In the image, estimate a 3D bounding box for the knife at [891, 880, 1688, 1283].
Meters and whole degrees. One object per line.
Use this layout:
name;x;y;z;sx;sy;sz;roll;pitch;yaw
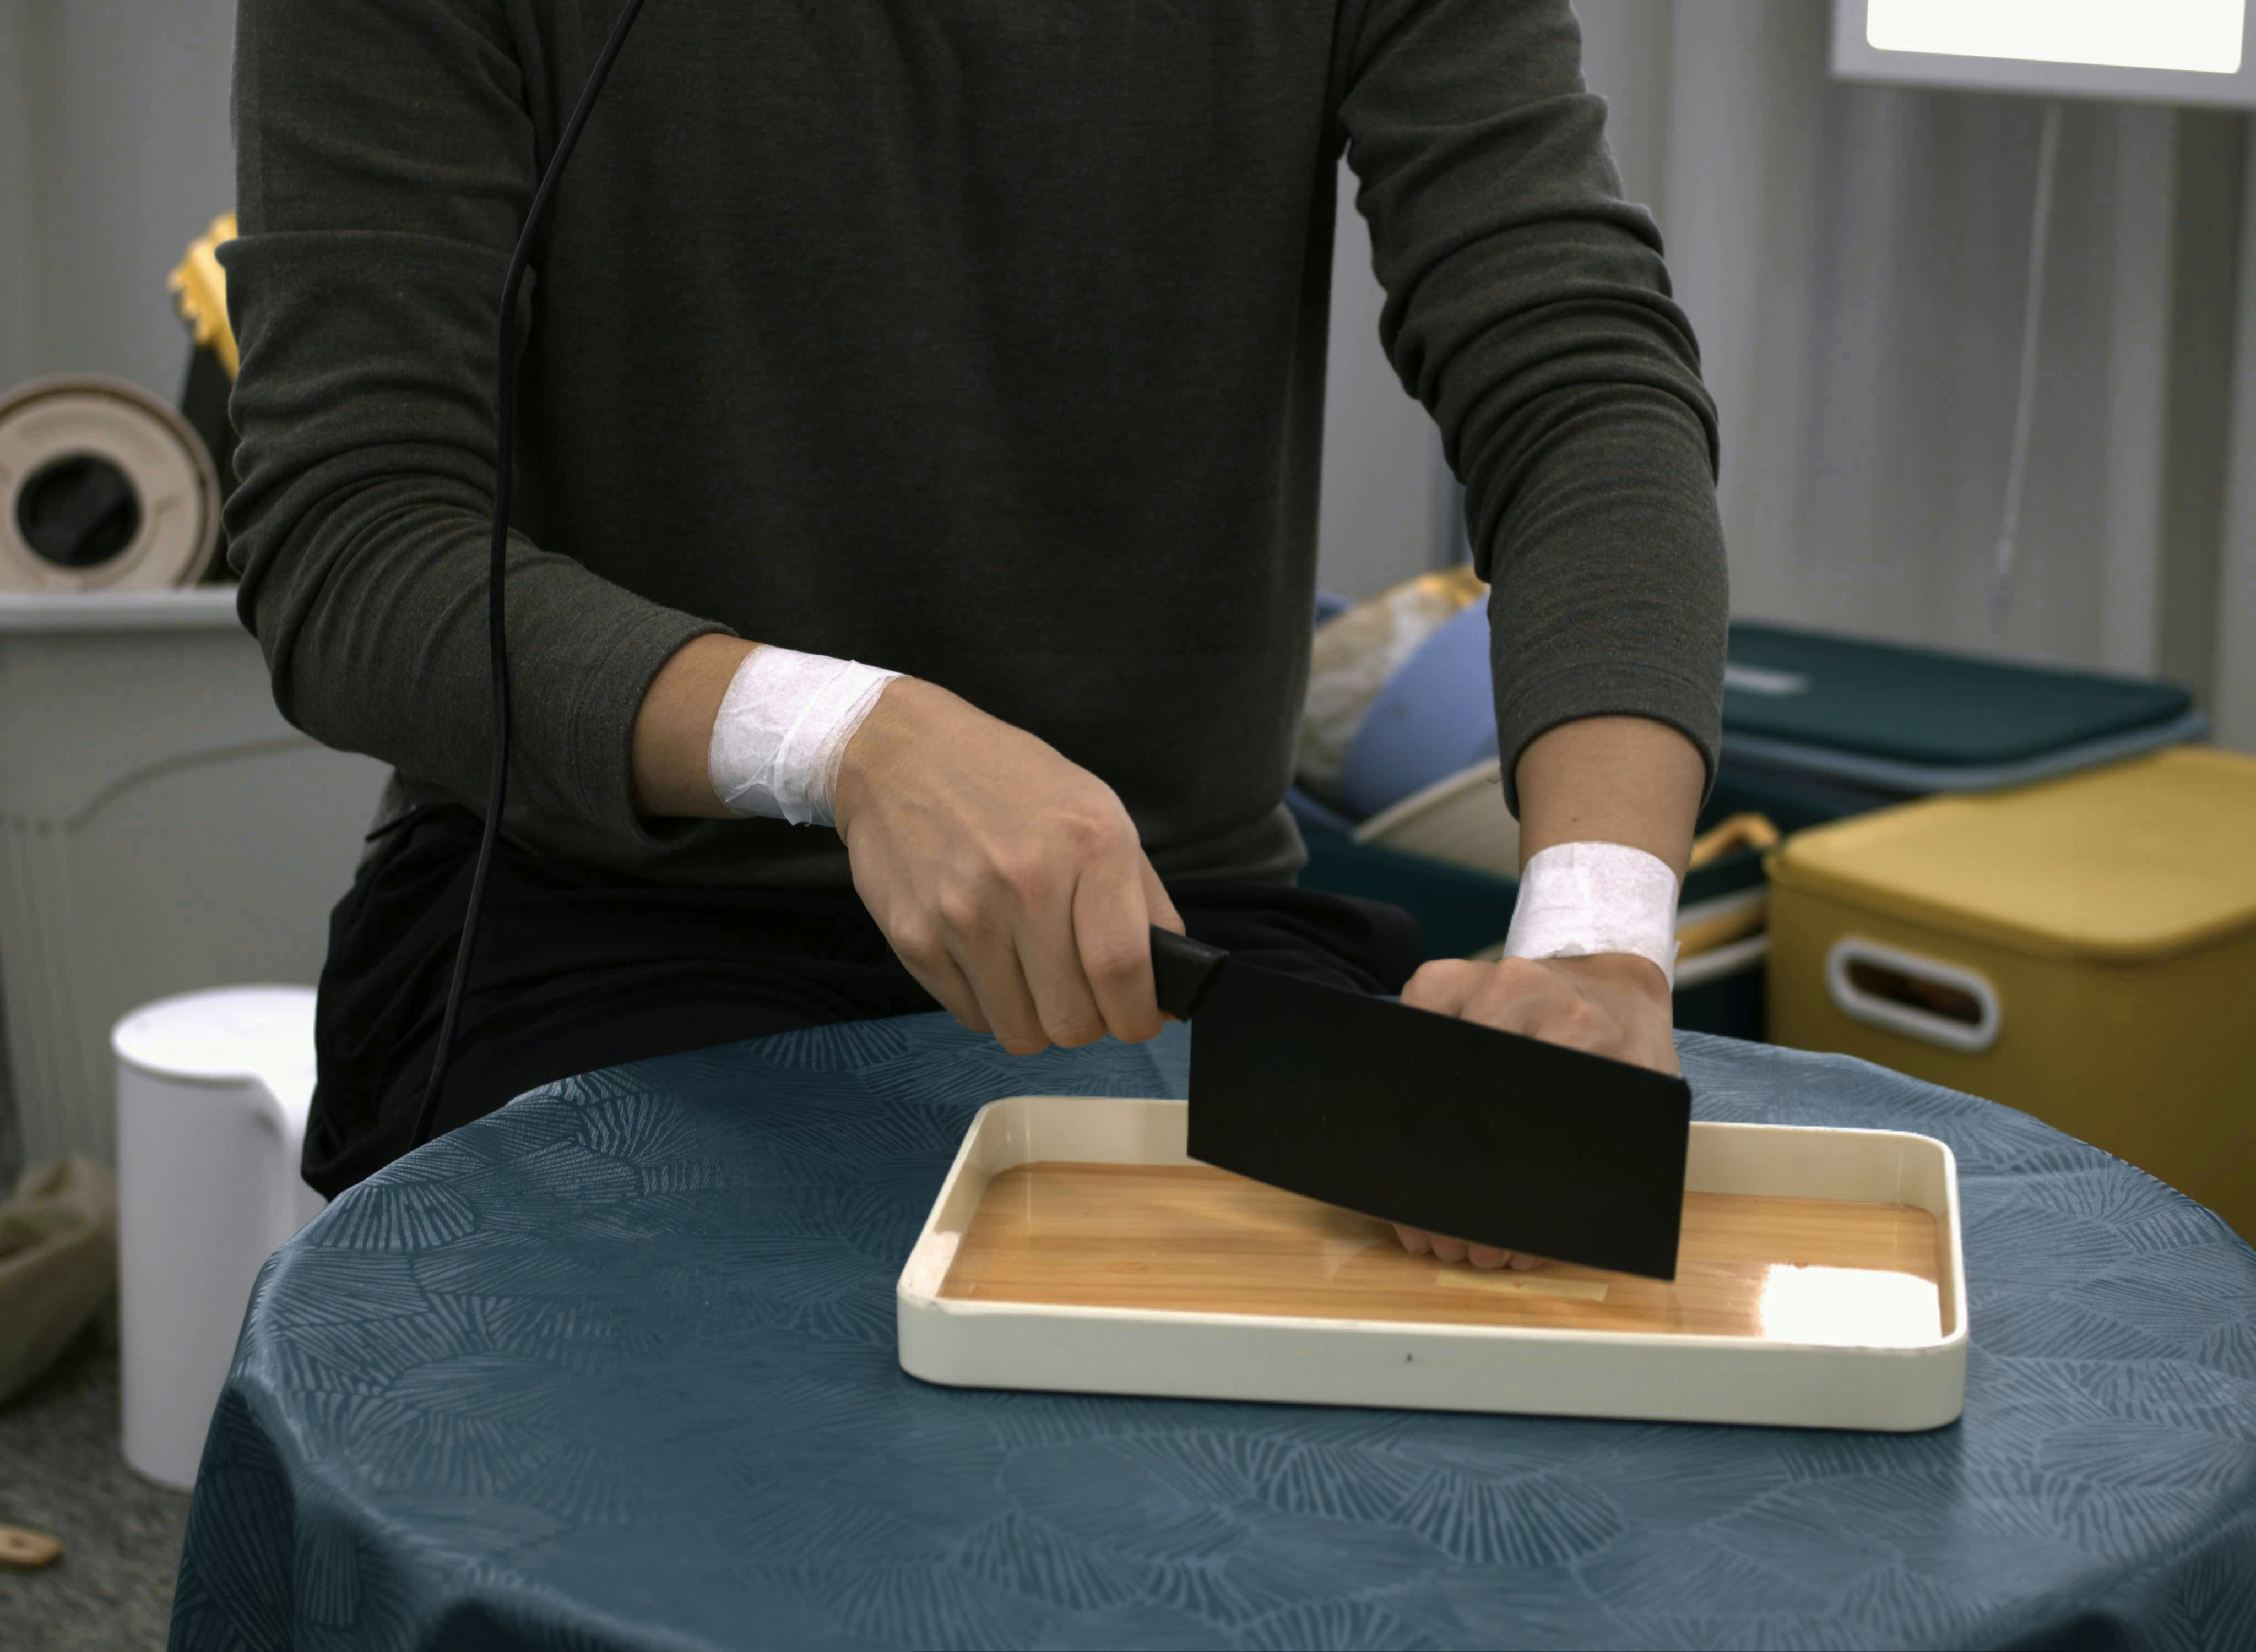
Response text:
knife;0.043;0.070;1.564;0.298;0.081;0.021;19;20;37

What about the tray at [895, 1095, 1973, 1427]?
tray;0.092;0.124;1.534;0.299;0.027;0.191;2;15;6
